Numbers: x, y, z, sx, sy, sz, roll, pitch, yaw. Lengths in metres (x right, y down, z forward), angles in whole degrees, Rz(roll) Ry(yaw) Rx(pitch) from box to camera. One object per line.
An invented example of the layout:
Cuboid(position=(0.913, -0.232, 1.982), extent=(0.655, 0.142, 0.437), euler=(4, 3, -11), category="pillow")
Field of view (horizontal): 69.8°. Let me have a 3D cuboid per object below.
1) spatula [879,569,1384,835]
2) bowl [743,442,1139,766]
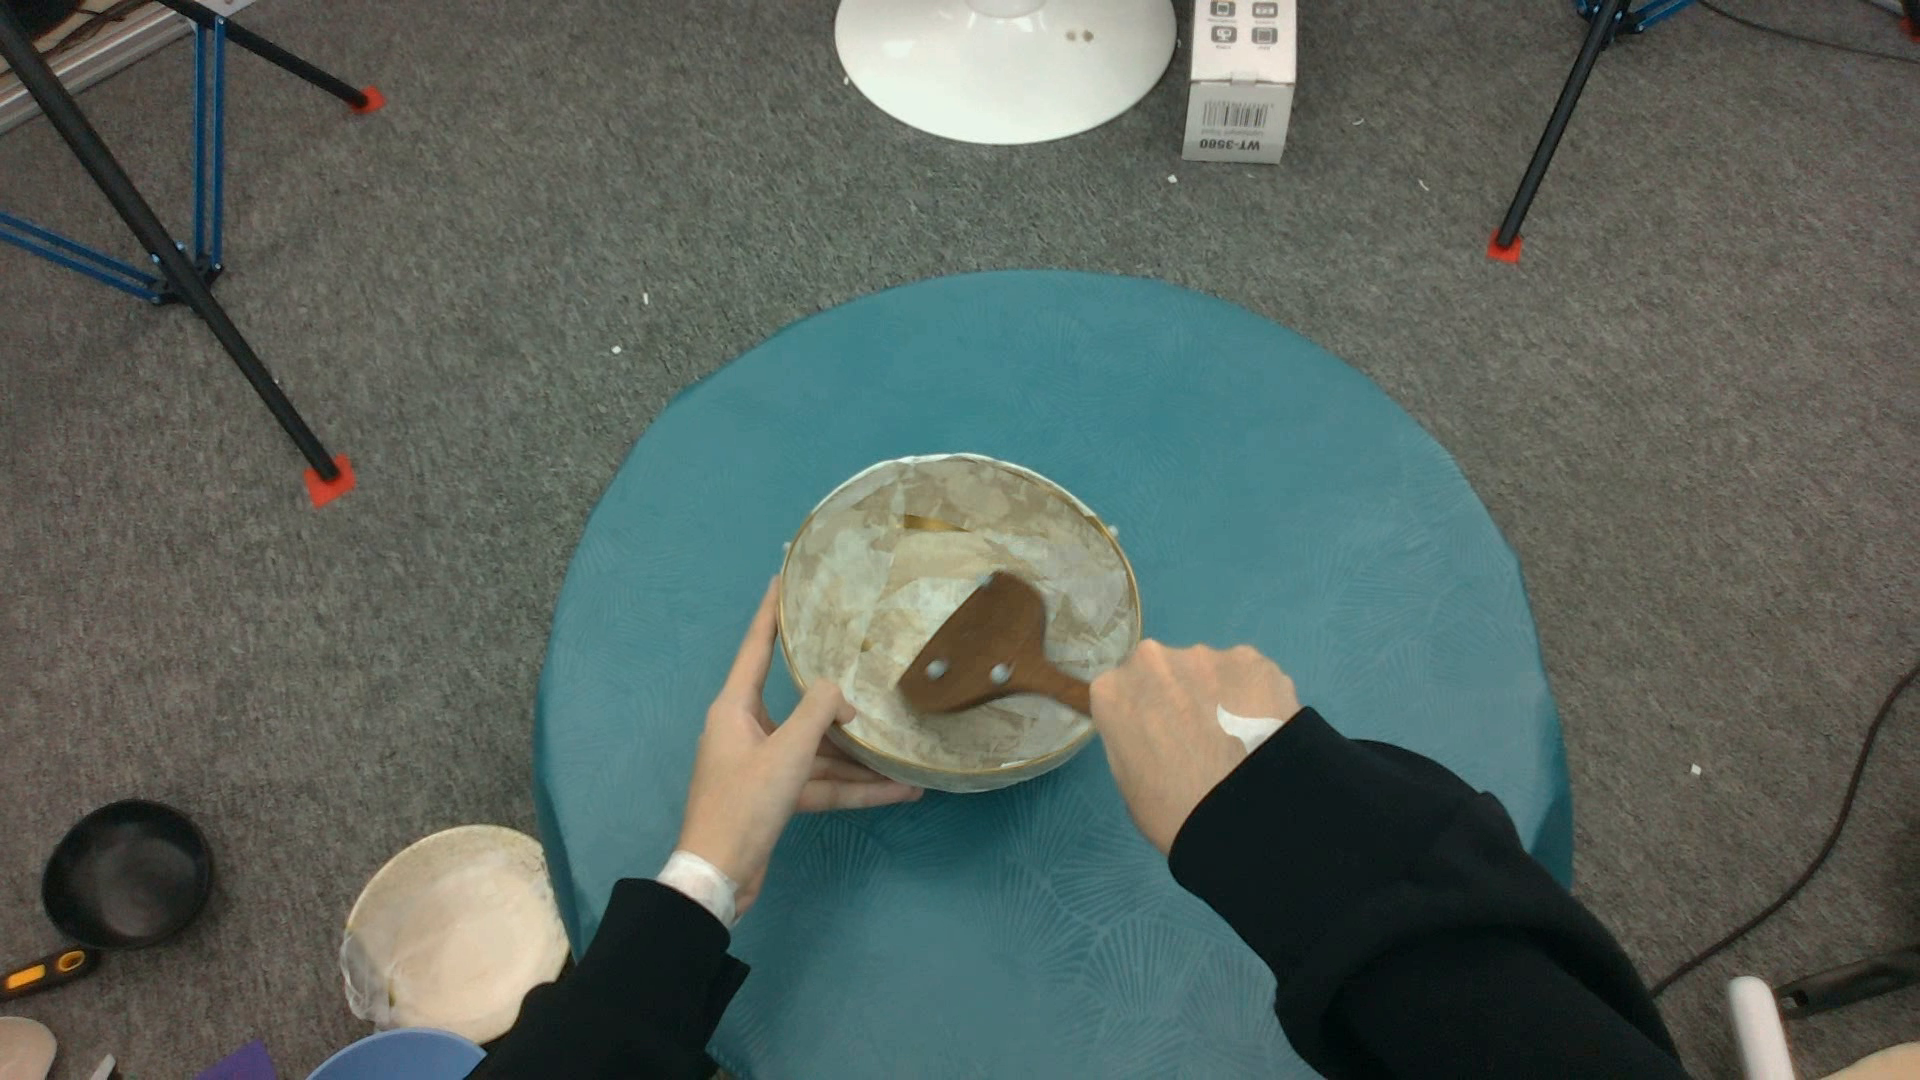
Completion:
Cuboid(position=(0.060, 0.072, 0.643), extent=(0.096, 0.385, 0.016), euler=(-48, 112, -13), category="spatula")
Cuboid(position=(-0.013, 0.050, 0.765), extent=(0.215, 0.094, 0.215), euler=(6, 47, -7), category="bowl")
